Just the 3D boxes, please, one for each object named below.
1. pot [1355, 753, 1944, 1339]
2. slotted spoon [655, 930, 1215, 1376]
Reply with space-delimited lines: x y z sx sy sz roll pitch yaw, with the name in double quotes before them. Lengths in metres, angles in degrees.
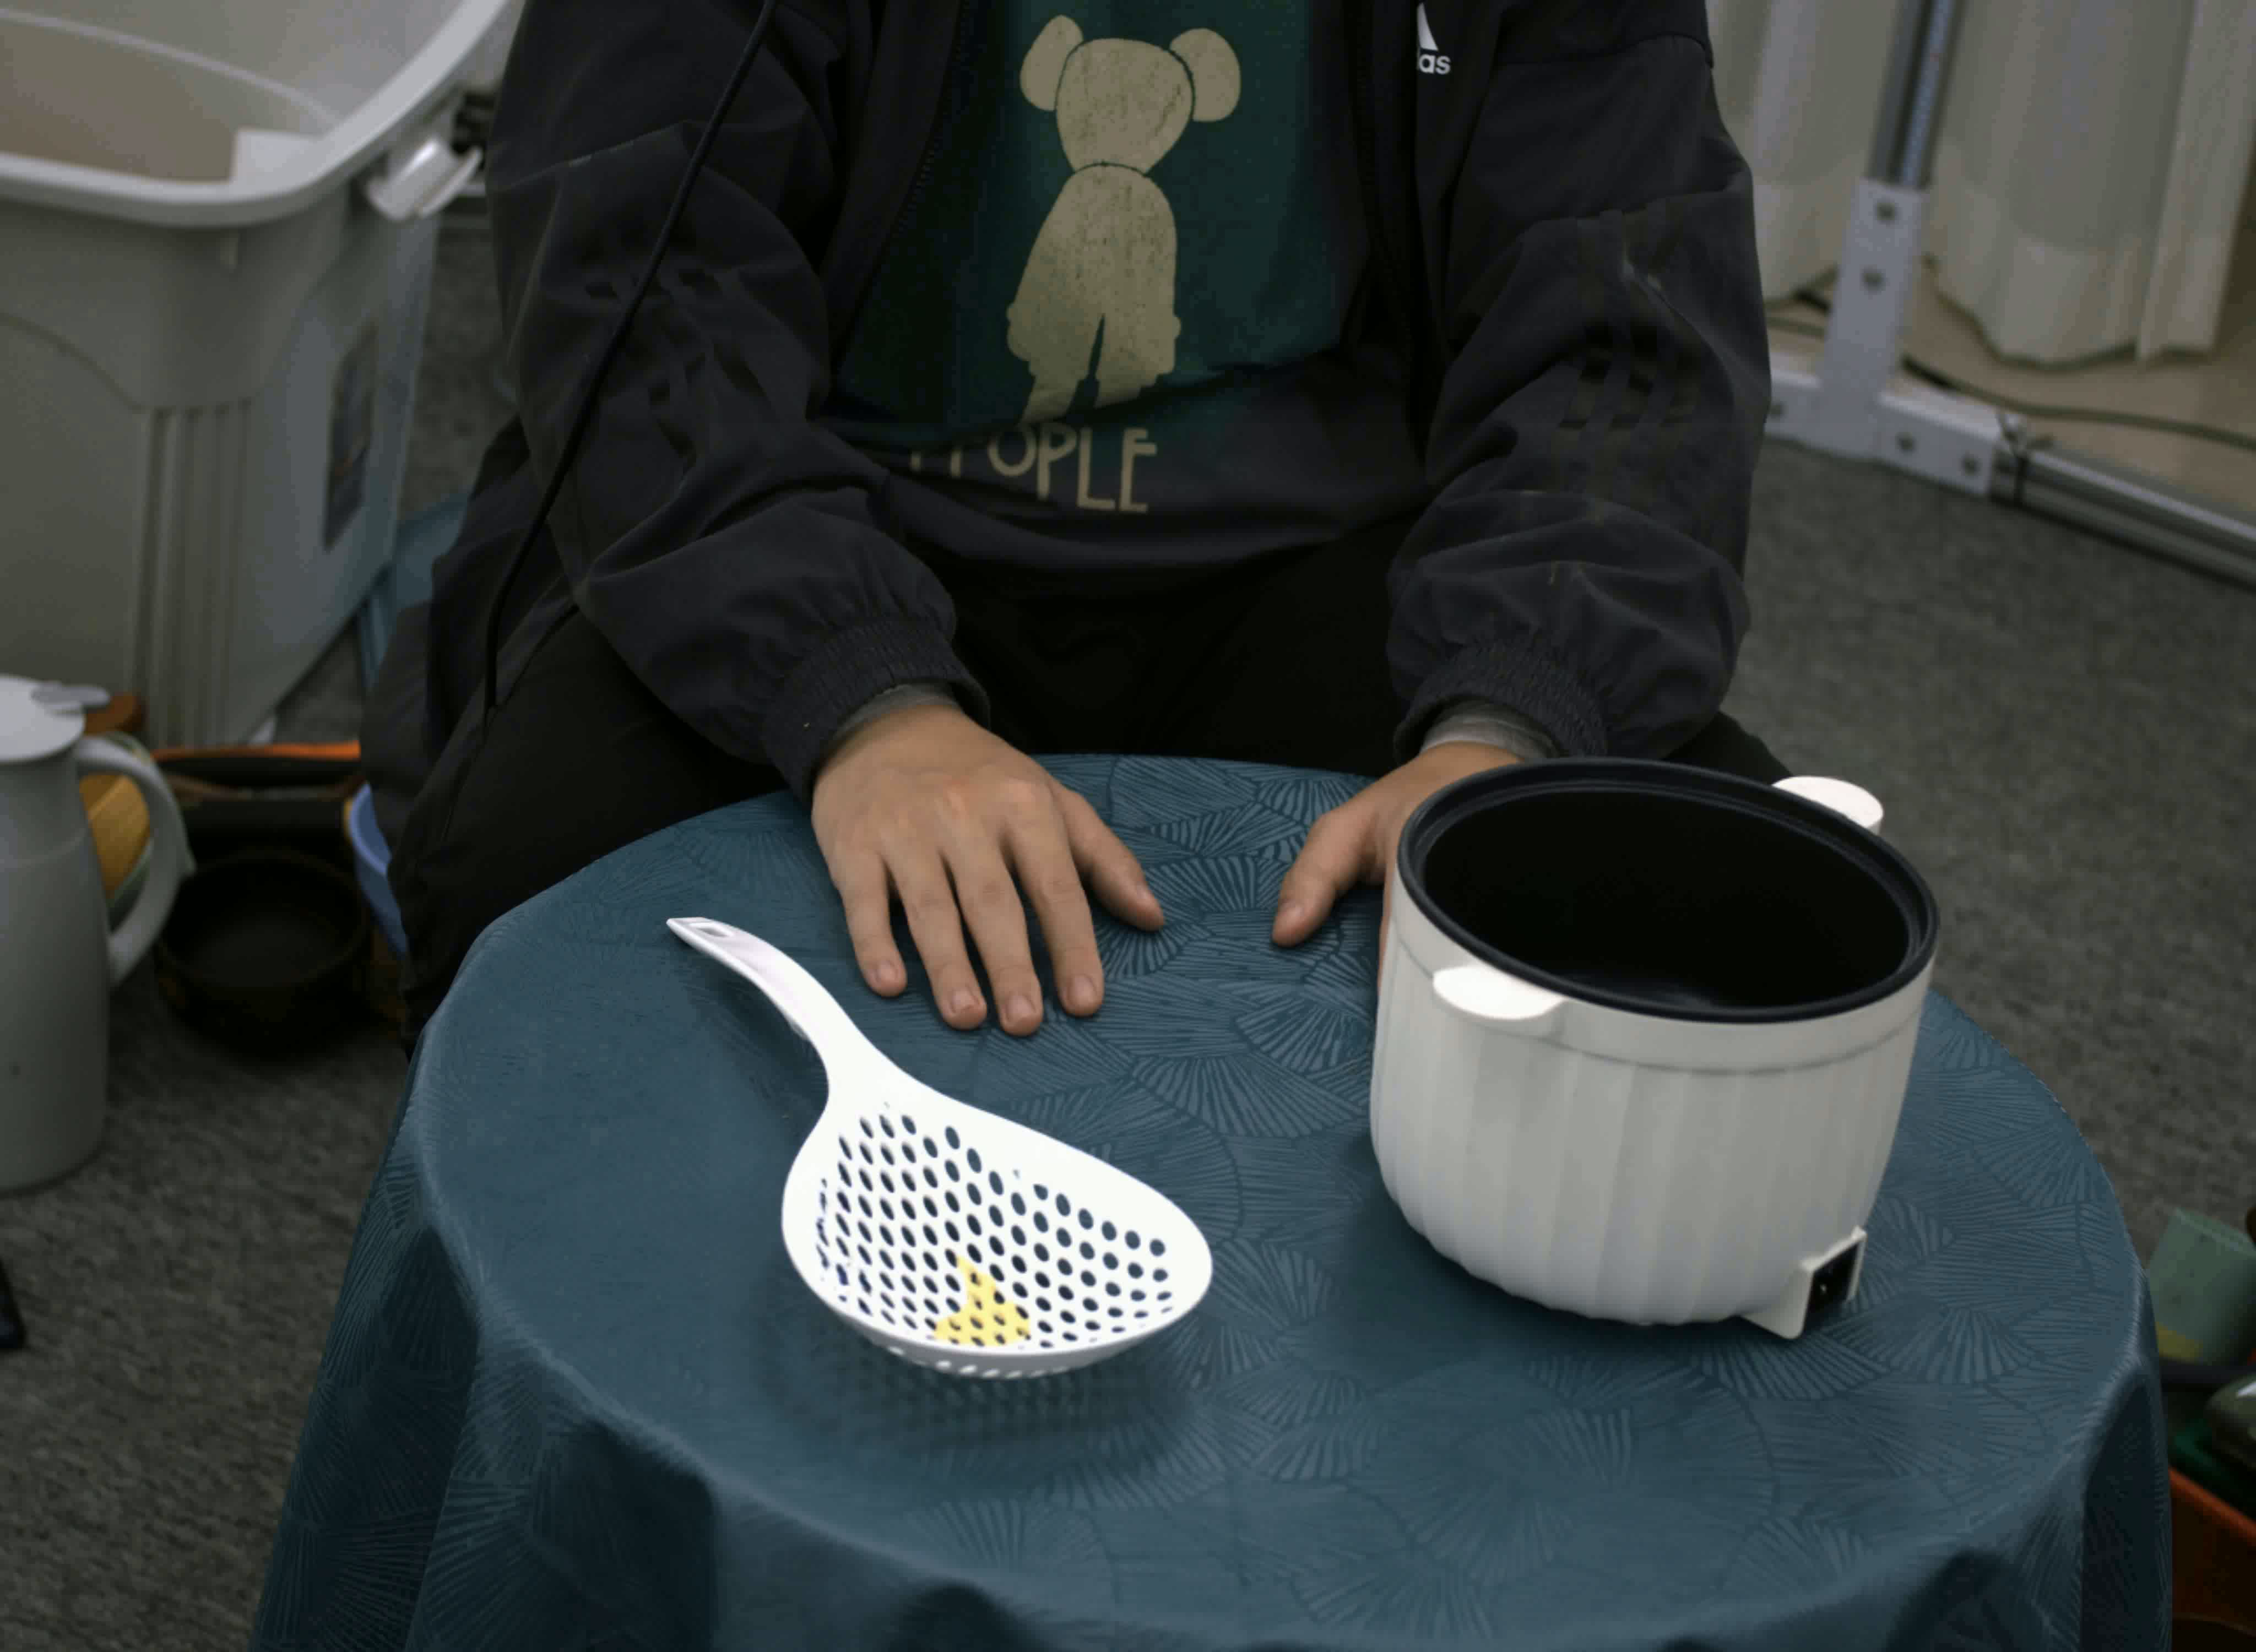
"pot" 0.166 0.075 1.786 0.192 0.142 0.239 27 32 30
"slotted spoon" -0.087 0.098 1.790 0.136 0.050 0.351 -8 31 -23
